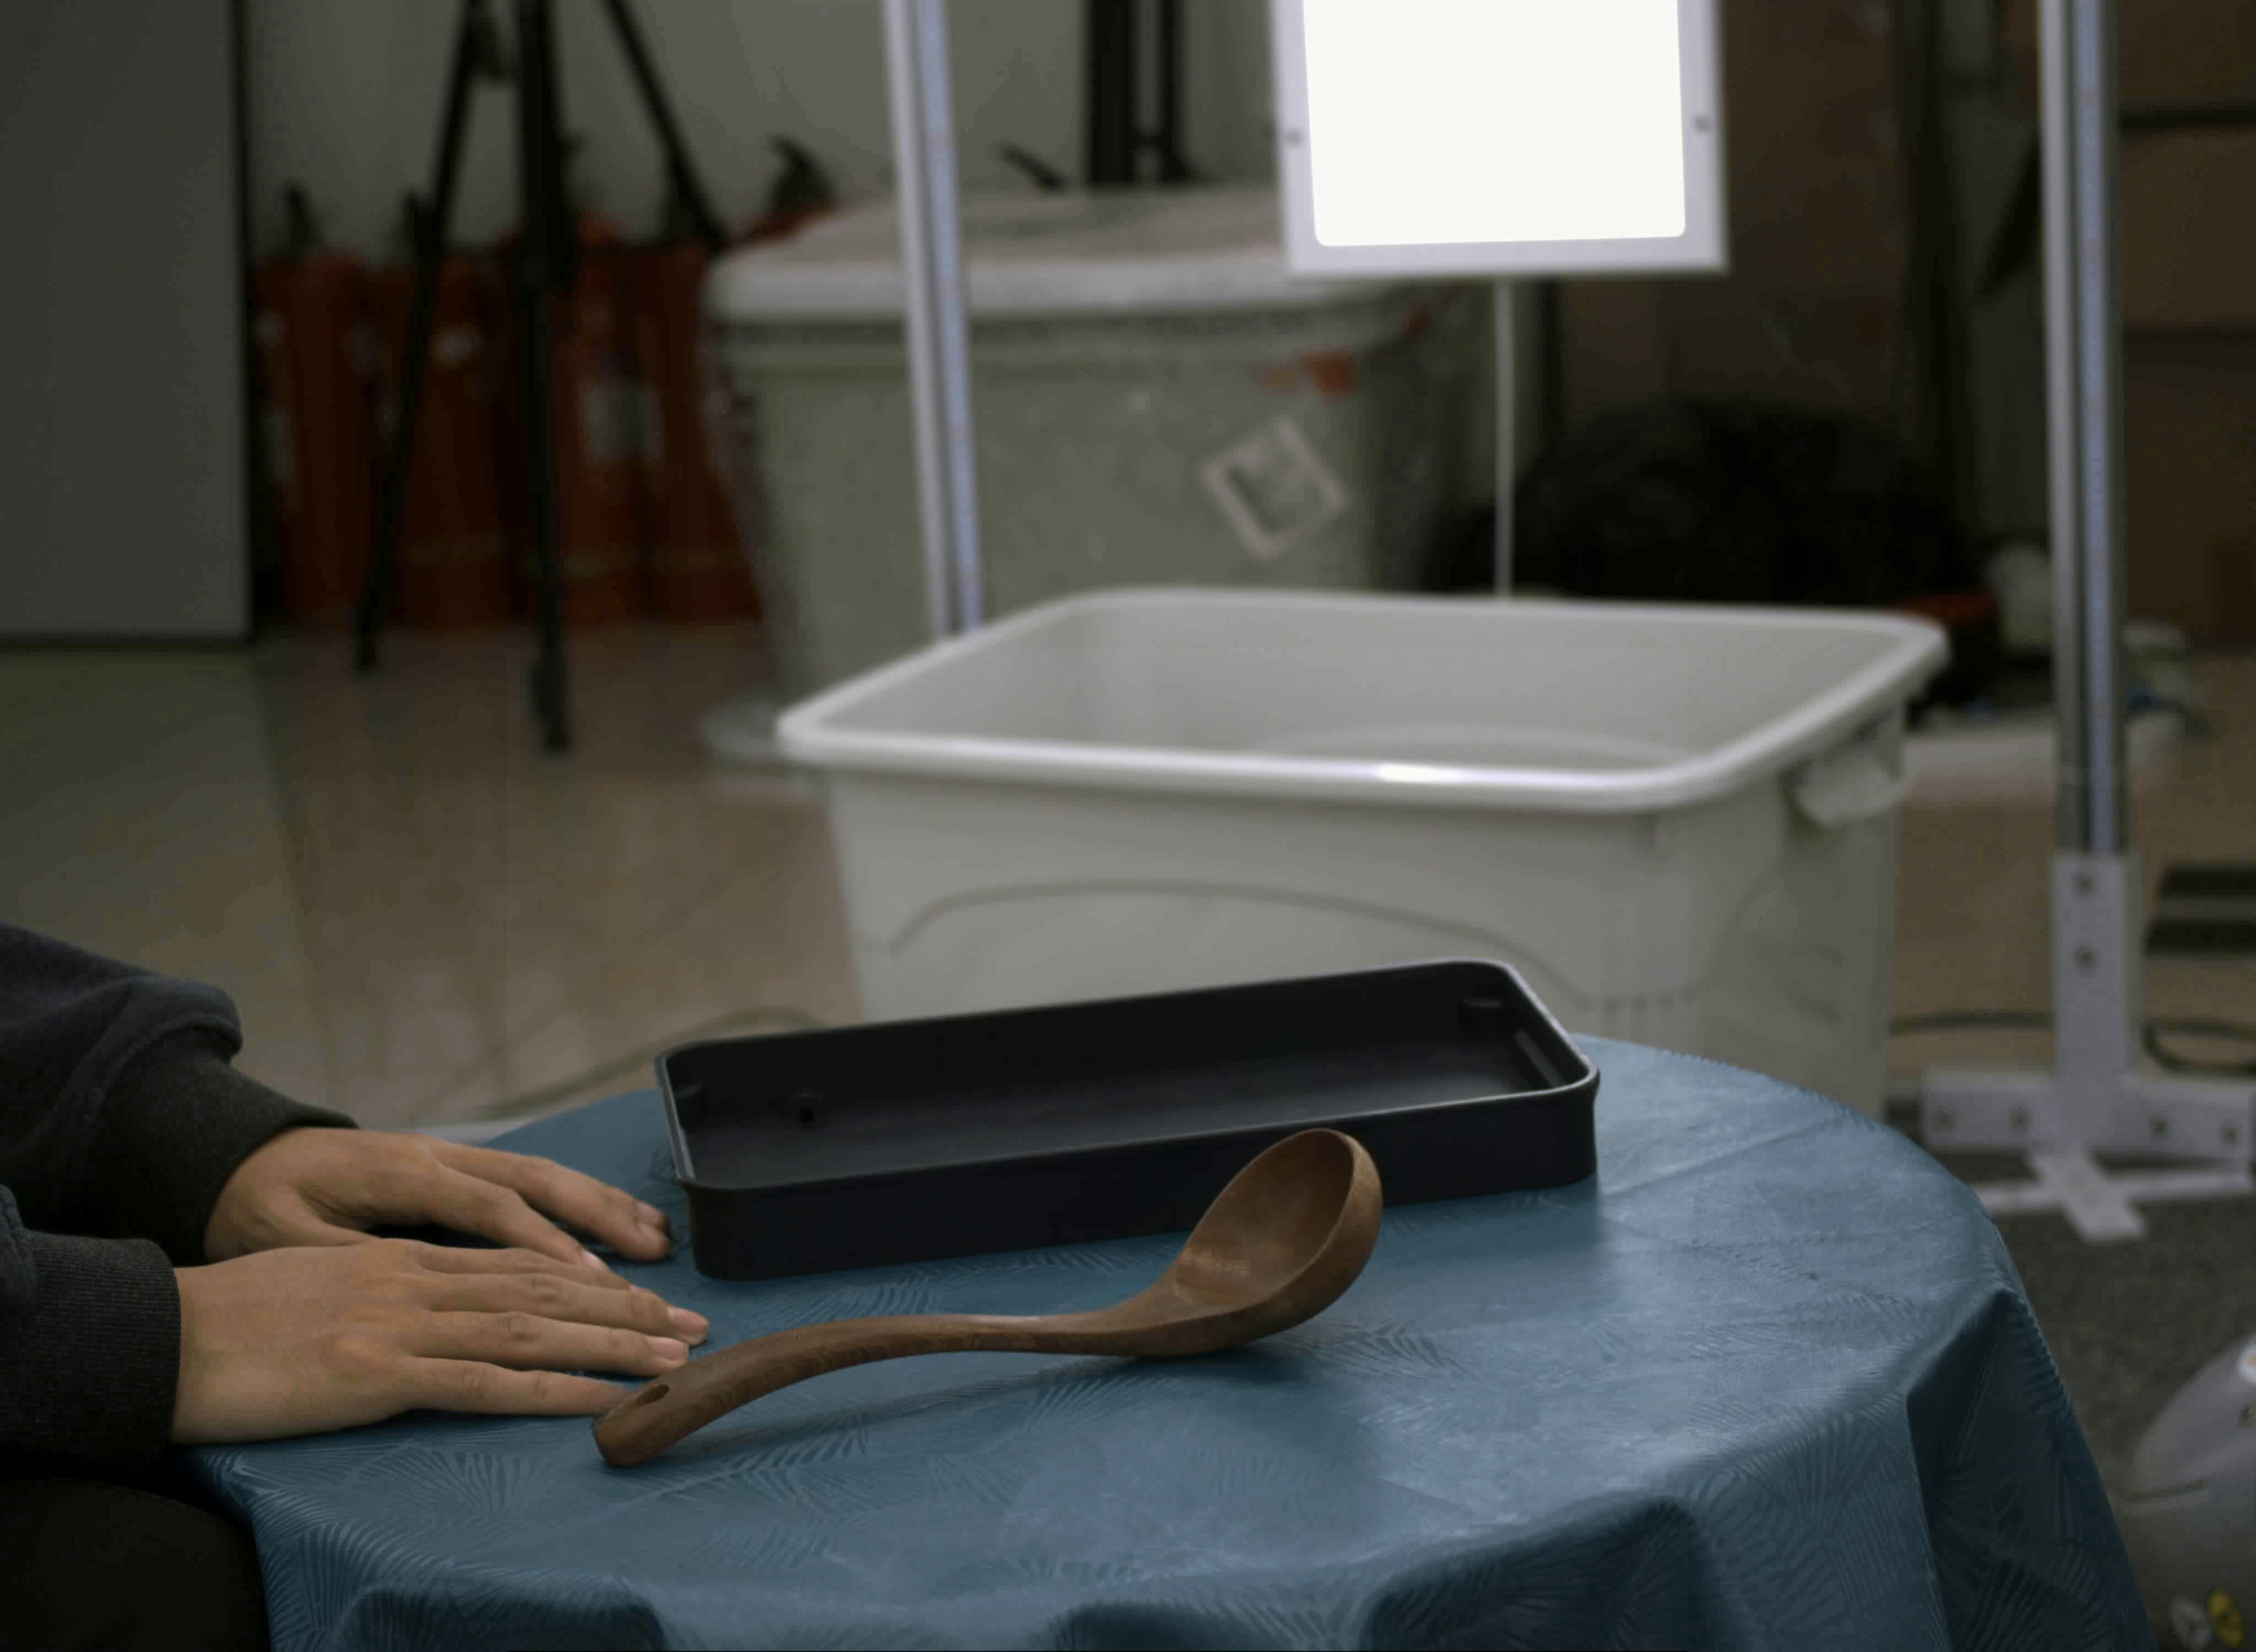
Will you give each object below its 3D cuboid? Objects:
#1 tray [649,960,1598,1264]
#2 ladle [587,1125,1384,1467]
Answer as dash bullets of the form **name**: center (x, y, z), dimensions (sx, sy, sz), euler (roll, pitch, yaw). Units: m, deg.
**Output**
- **tray**: center (-0.005, 0.098, 1.930), dimensions (0.316, 0.037, 0.185), euler (-5, 14, -5)
- **ladle**: center (-0.044, 0.144, 1.705), dimensions (0.256, 0.065, 0.077), euler (-9, 15, -15)
